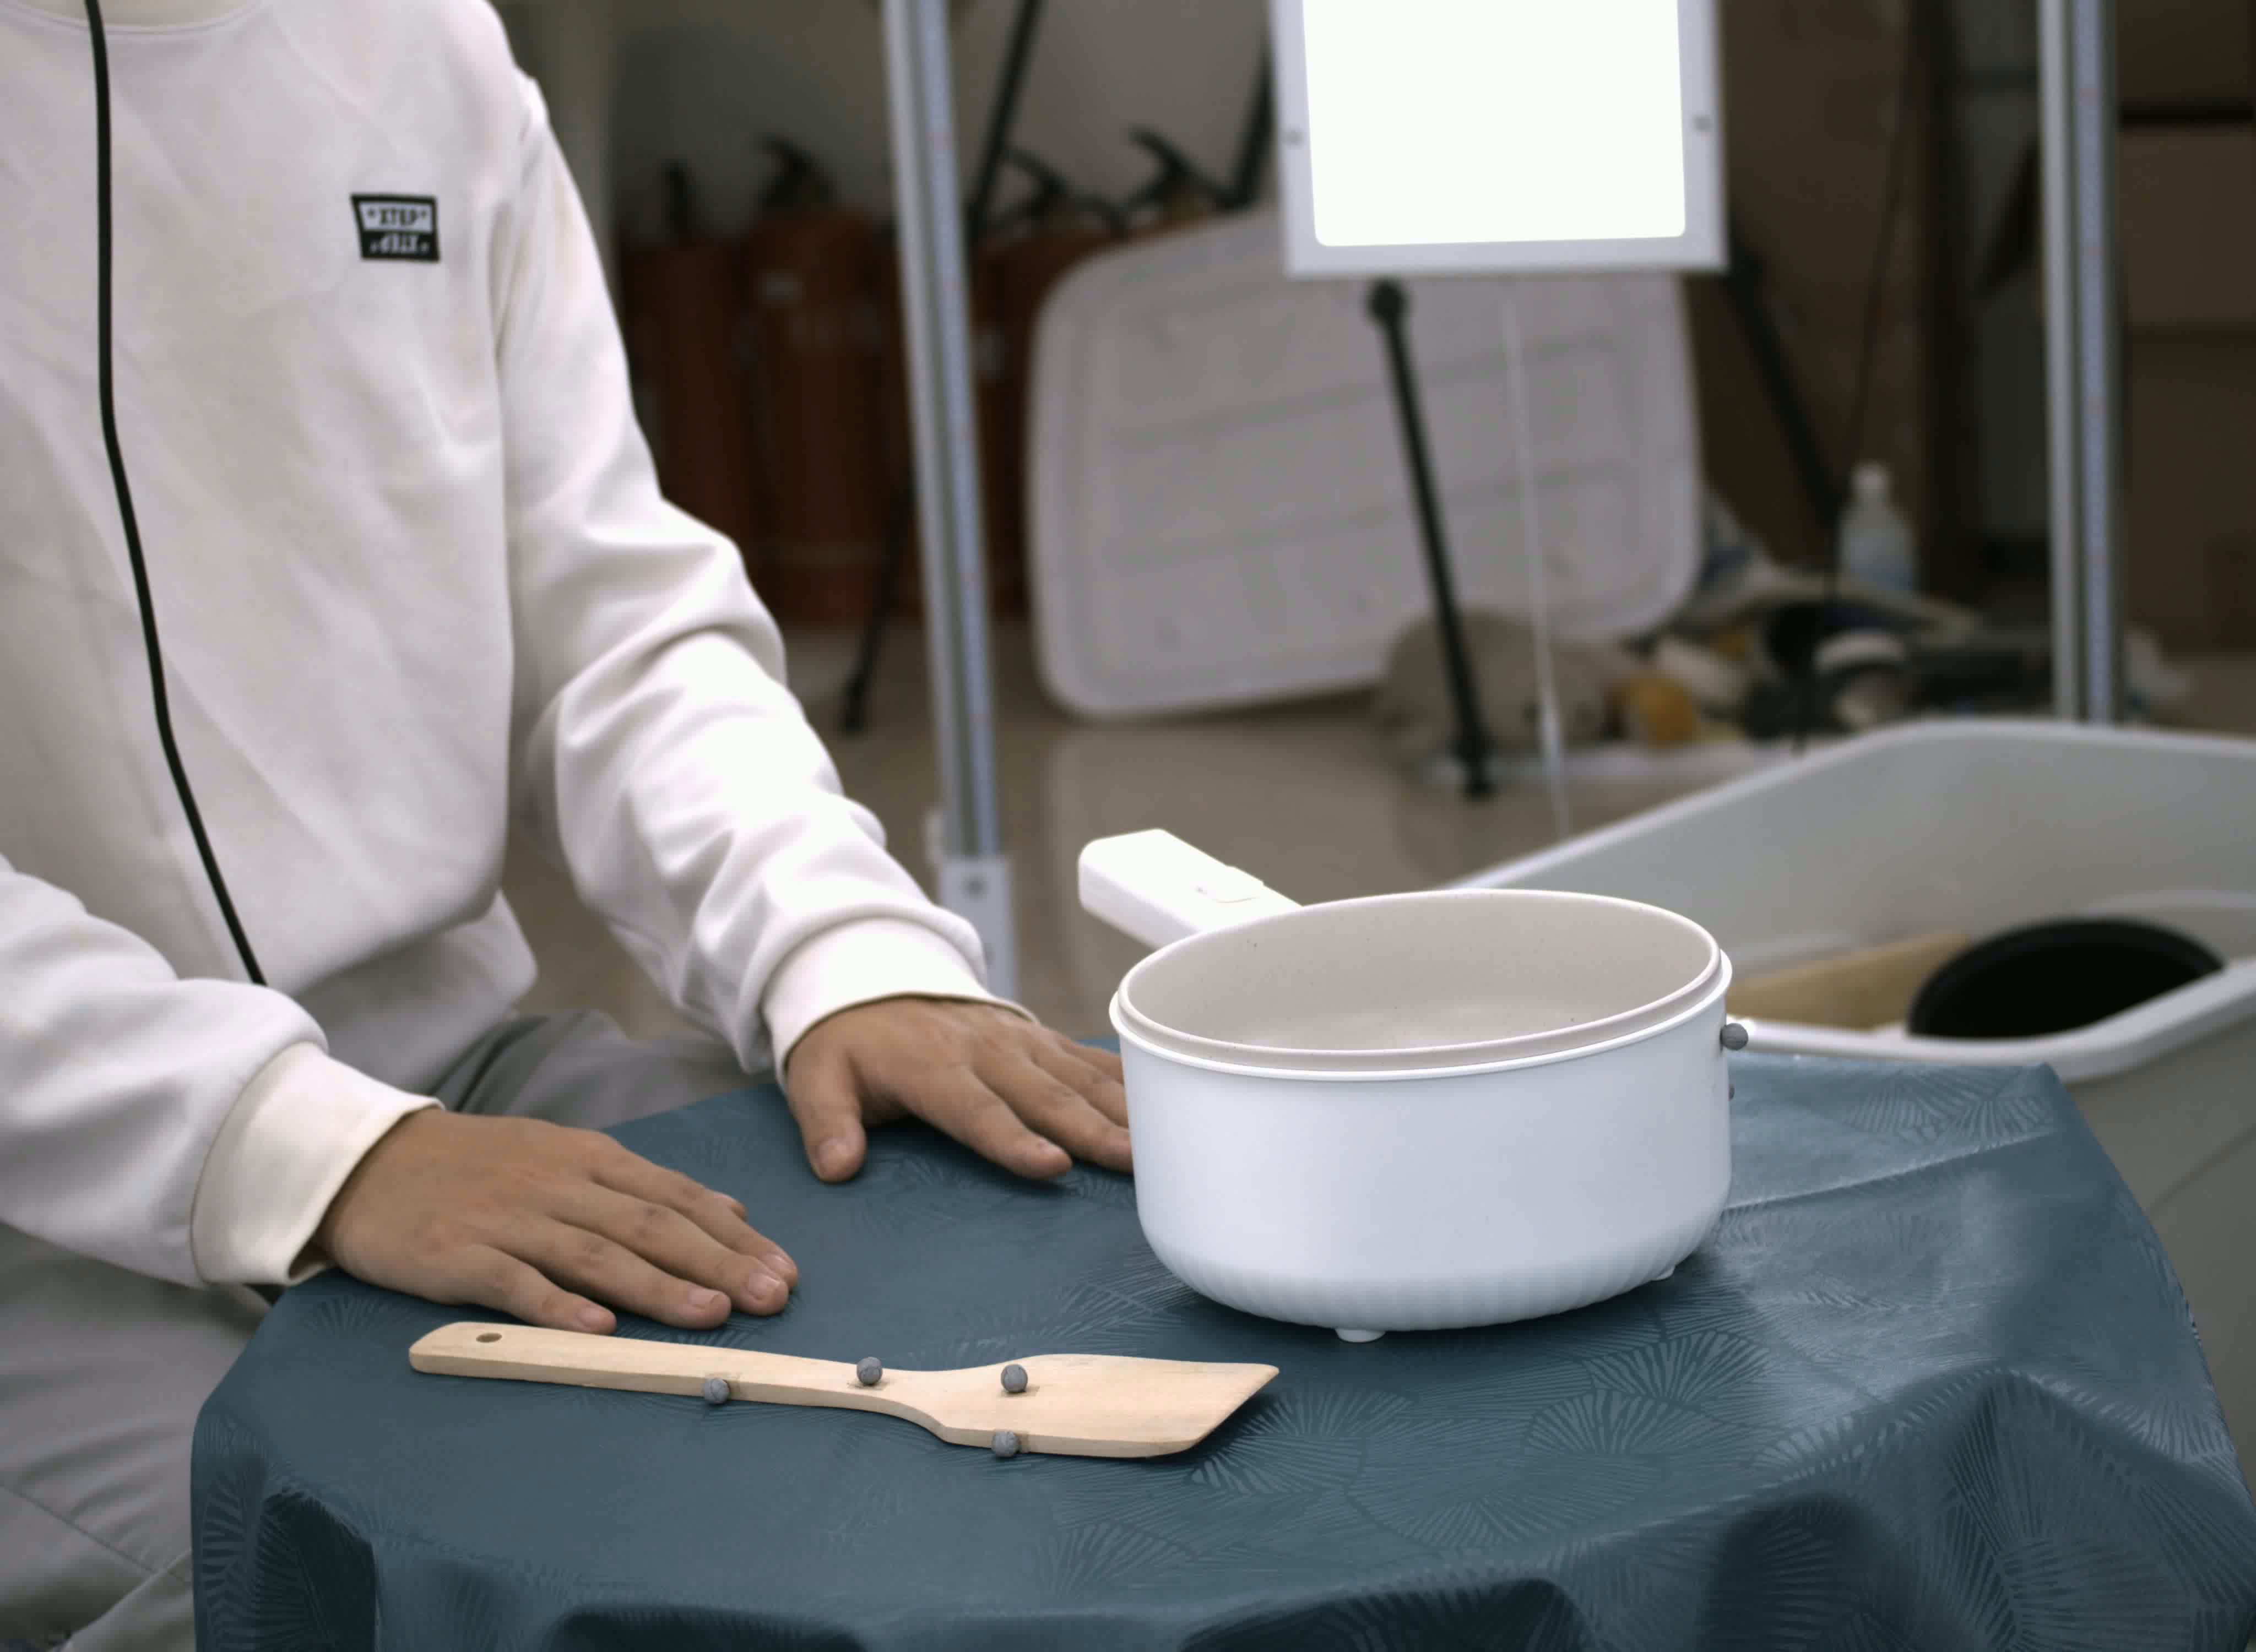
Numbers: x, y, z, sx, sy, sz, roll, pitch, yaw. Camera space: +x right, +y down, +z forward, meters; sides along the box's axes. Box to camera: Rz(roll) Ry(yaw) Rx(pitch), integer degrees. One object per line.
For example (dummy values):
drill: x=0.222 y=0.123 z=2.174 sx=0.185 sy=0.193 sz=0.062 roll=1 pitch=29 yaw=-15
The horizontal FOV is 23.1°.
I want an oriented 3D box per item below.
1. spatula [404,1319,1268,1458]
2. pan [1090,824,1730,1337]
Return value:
spatula: x=-0.100 y=0.173 z=1.725 sx=0.298 sy=0.011 sz=0.071 roll=2 pitch=17 yaw=27
pan: x=0.069 y=0.079 z=1.853 sx=0.198 sy=0.102 sz=0.359 roll=-10 pitch=14 yaw=-19
